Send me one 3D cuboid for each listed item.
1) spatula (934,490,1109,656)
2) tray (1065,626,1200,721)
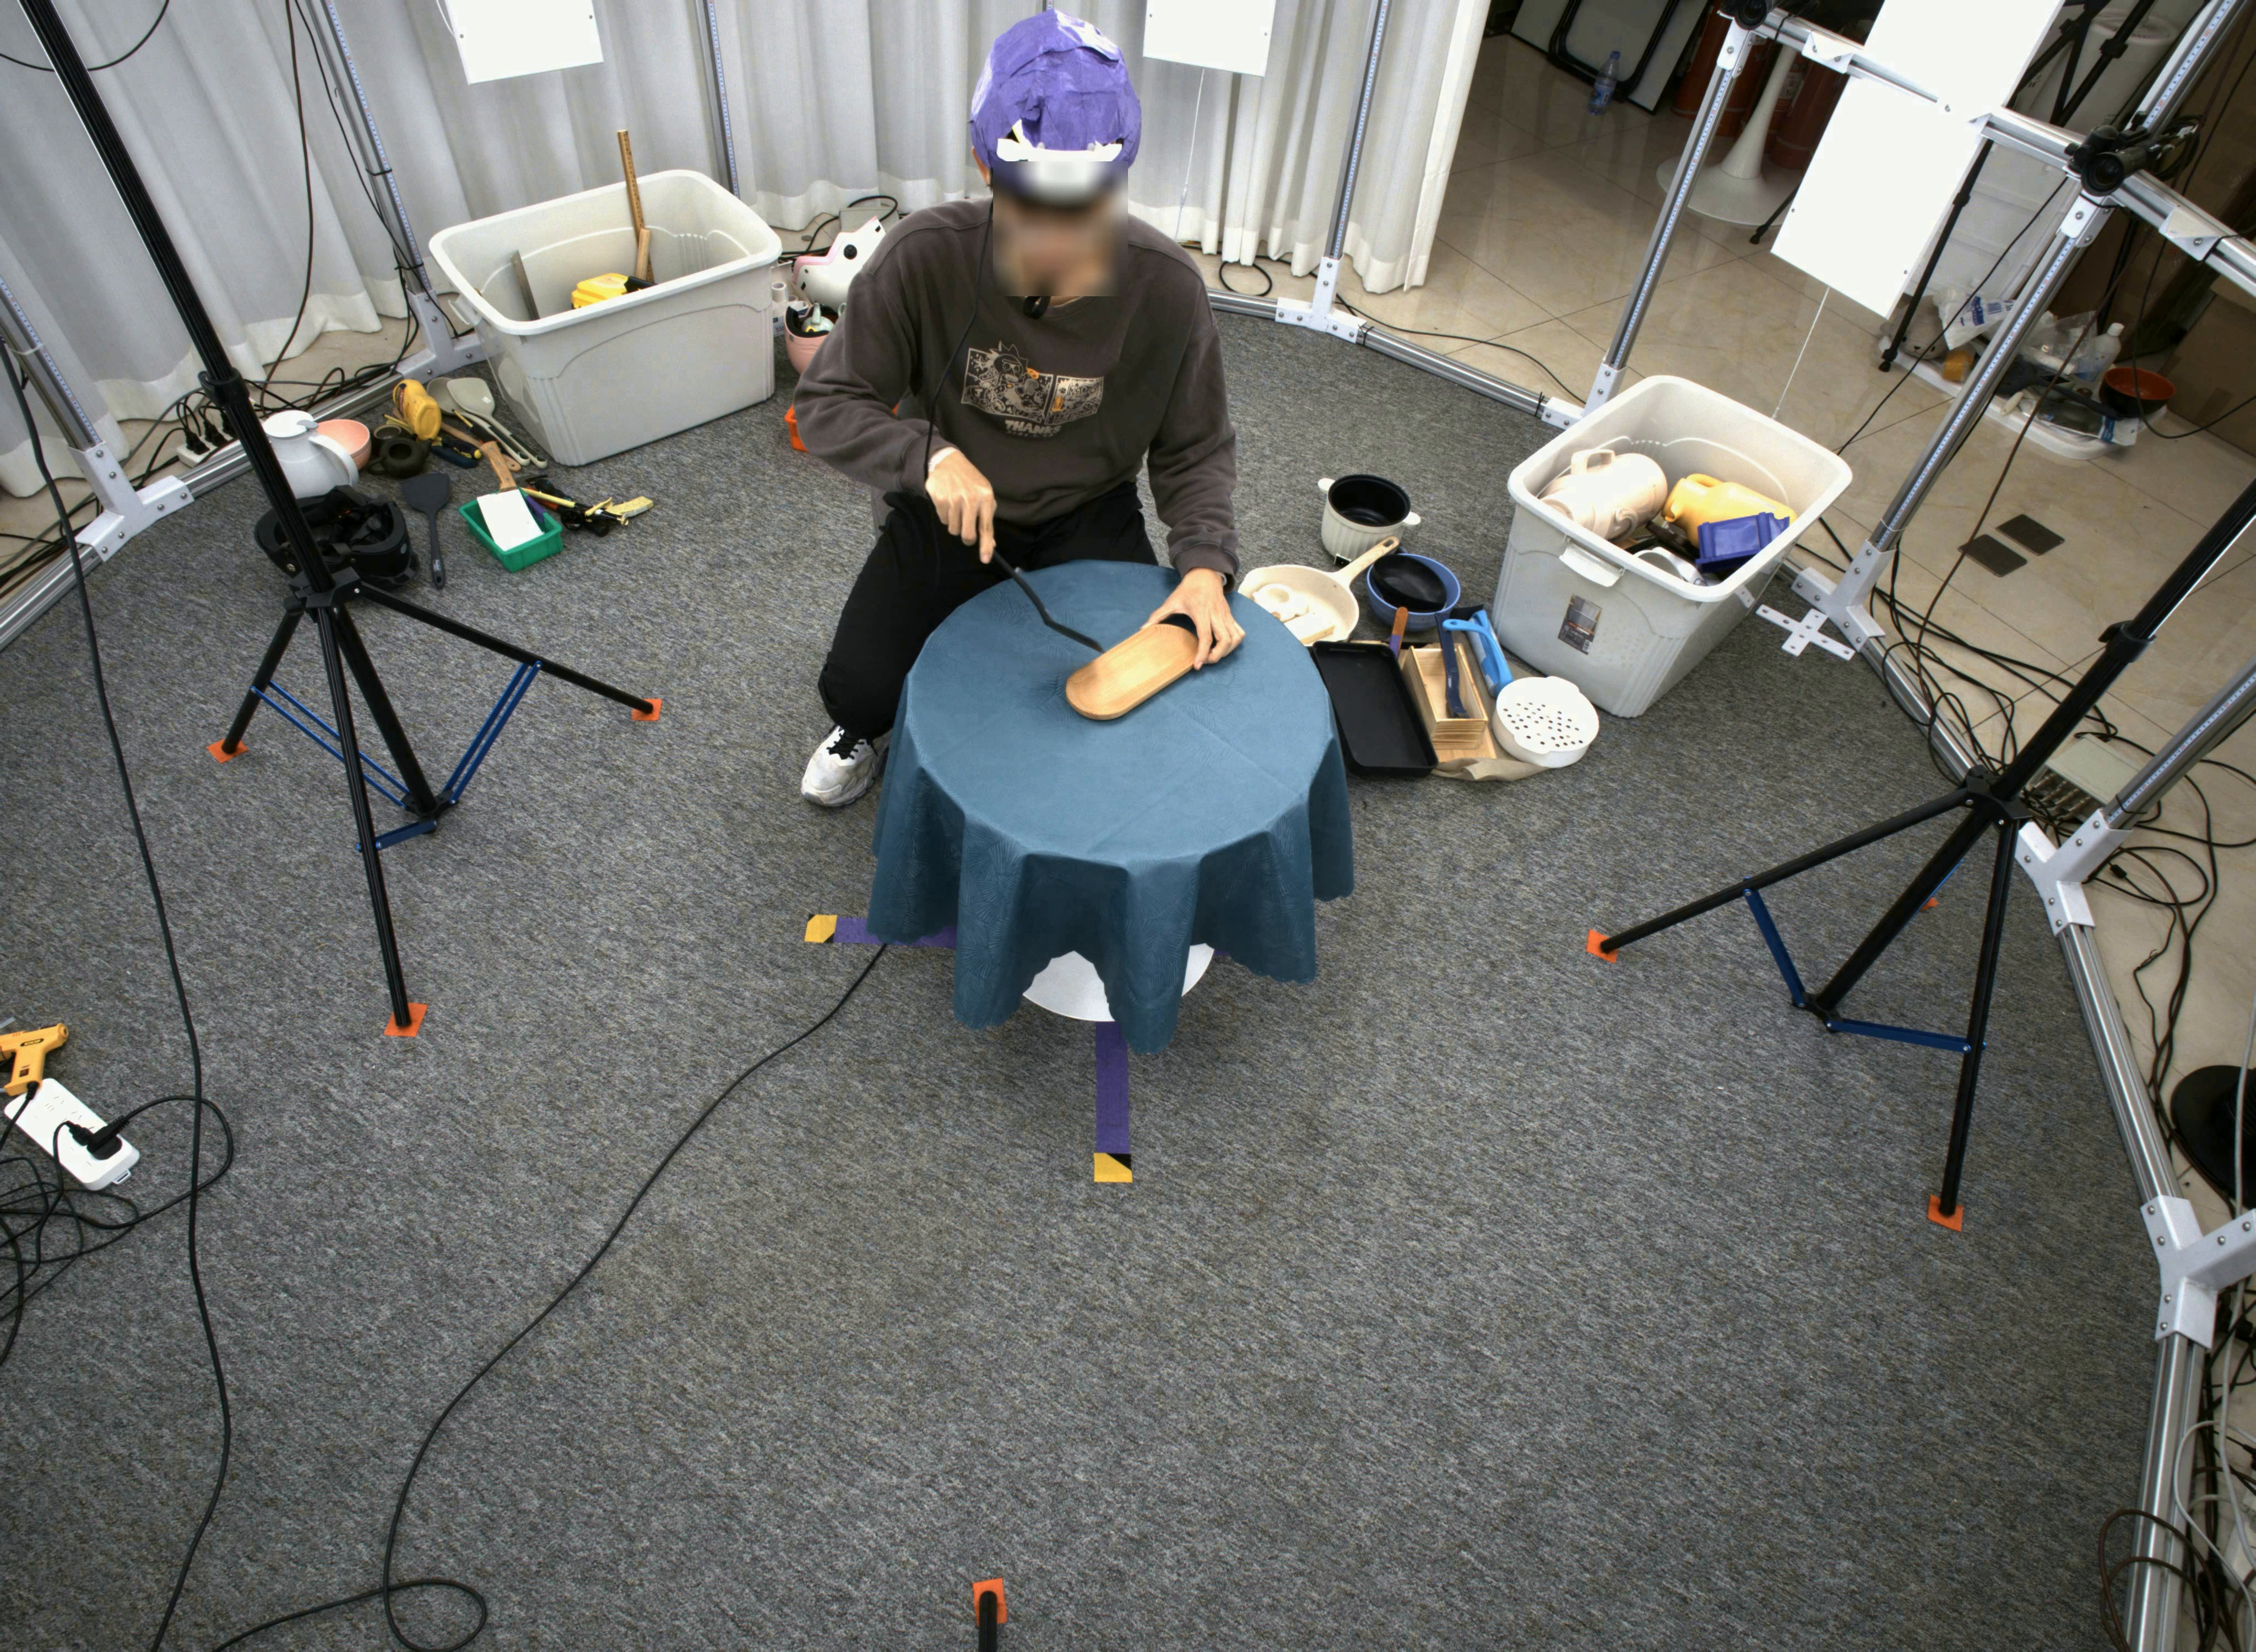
[{"bbox_3d":[-0.148,-0.350,1.787,0.040,0.100,0.326,-41,91,0],"label":"spatula"},{"bbox_3d":[0.008,-0.221,1.848,0.233,0.020,0.103,-36,59,-28],"label":"tray"}]
